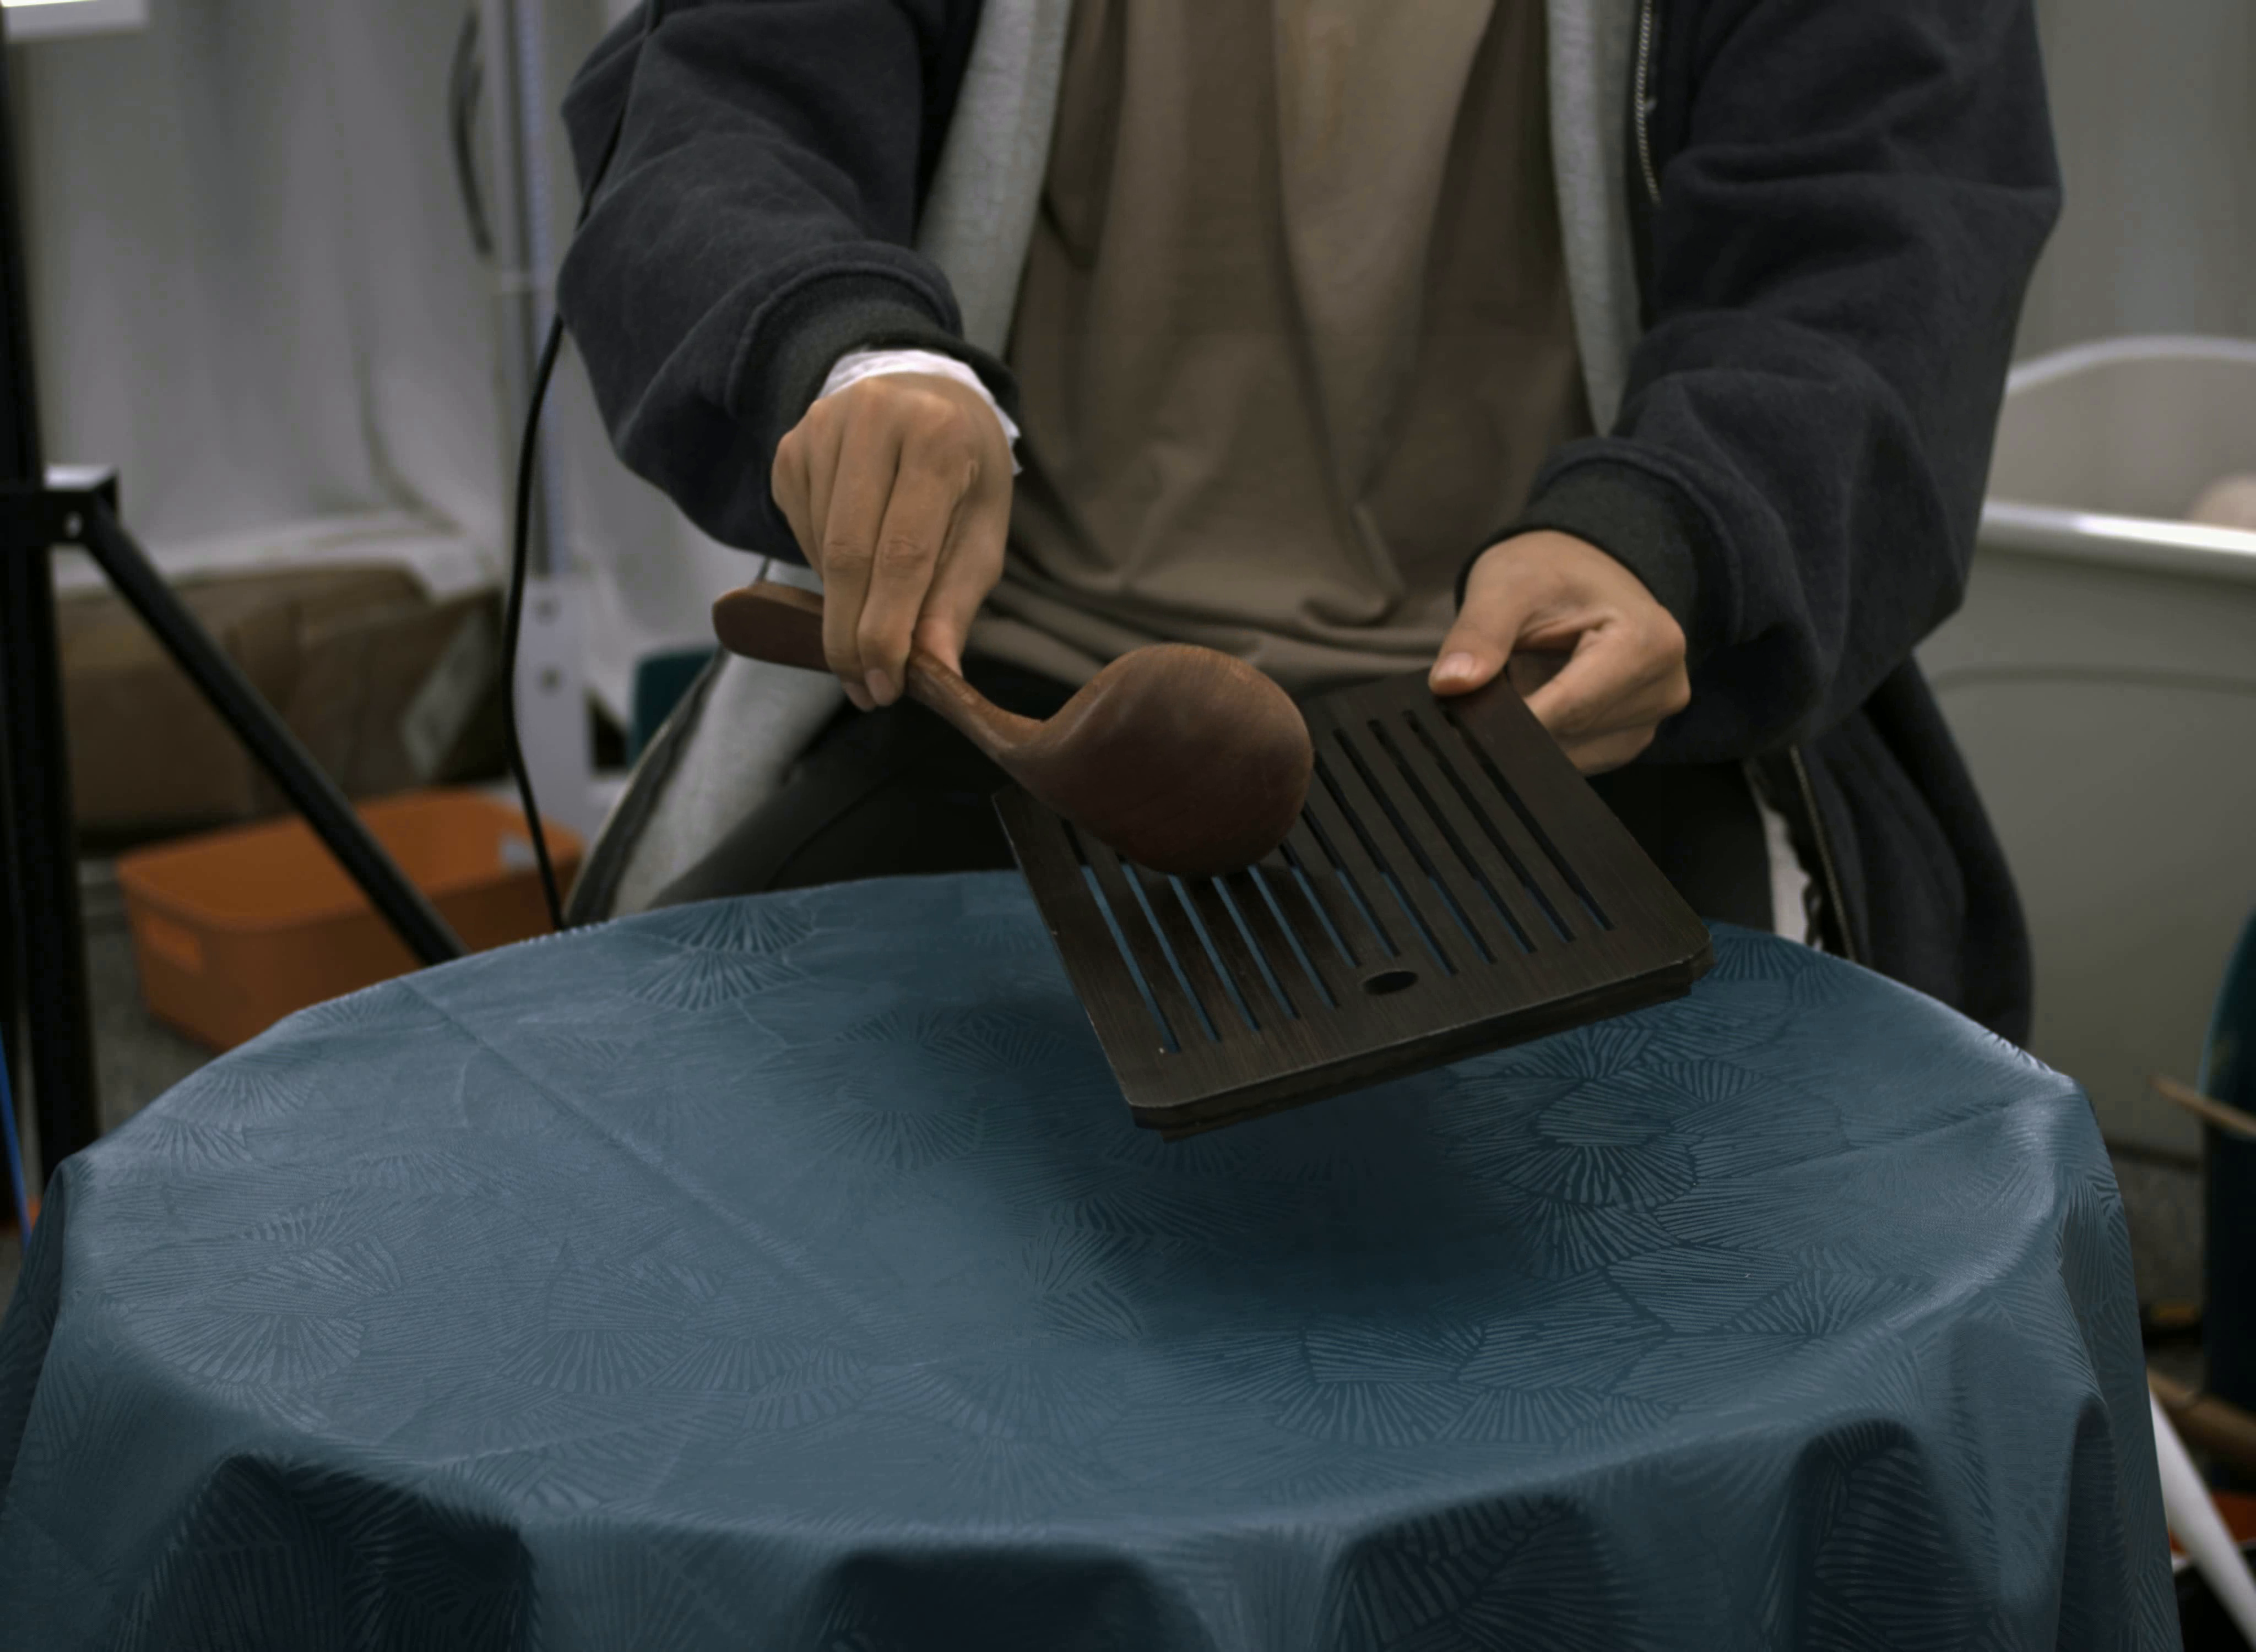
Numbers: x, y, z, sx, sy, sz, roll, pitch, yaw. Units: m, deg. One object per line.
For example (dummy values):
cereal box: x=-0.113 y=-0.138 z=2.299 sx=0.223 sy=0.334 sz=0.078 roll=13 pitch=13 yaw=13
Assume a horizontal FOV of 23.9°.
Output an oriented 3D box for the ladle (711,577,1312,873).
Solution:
ladle: x=-0.040 y=-0.045 z=1.668 sx=0.064 sy=0.076 sz=0.266 roll=-20 pitch=25 yaw=-29

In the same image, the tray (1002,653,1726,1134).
tray: x=0.063 y=0.016 z=1.593 sx=0.169 sy=0.018 sz=0.309 roll=-16 pitch=19 yaw=-3
